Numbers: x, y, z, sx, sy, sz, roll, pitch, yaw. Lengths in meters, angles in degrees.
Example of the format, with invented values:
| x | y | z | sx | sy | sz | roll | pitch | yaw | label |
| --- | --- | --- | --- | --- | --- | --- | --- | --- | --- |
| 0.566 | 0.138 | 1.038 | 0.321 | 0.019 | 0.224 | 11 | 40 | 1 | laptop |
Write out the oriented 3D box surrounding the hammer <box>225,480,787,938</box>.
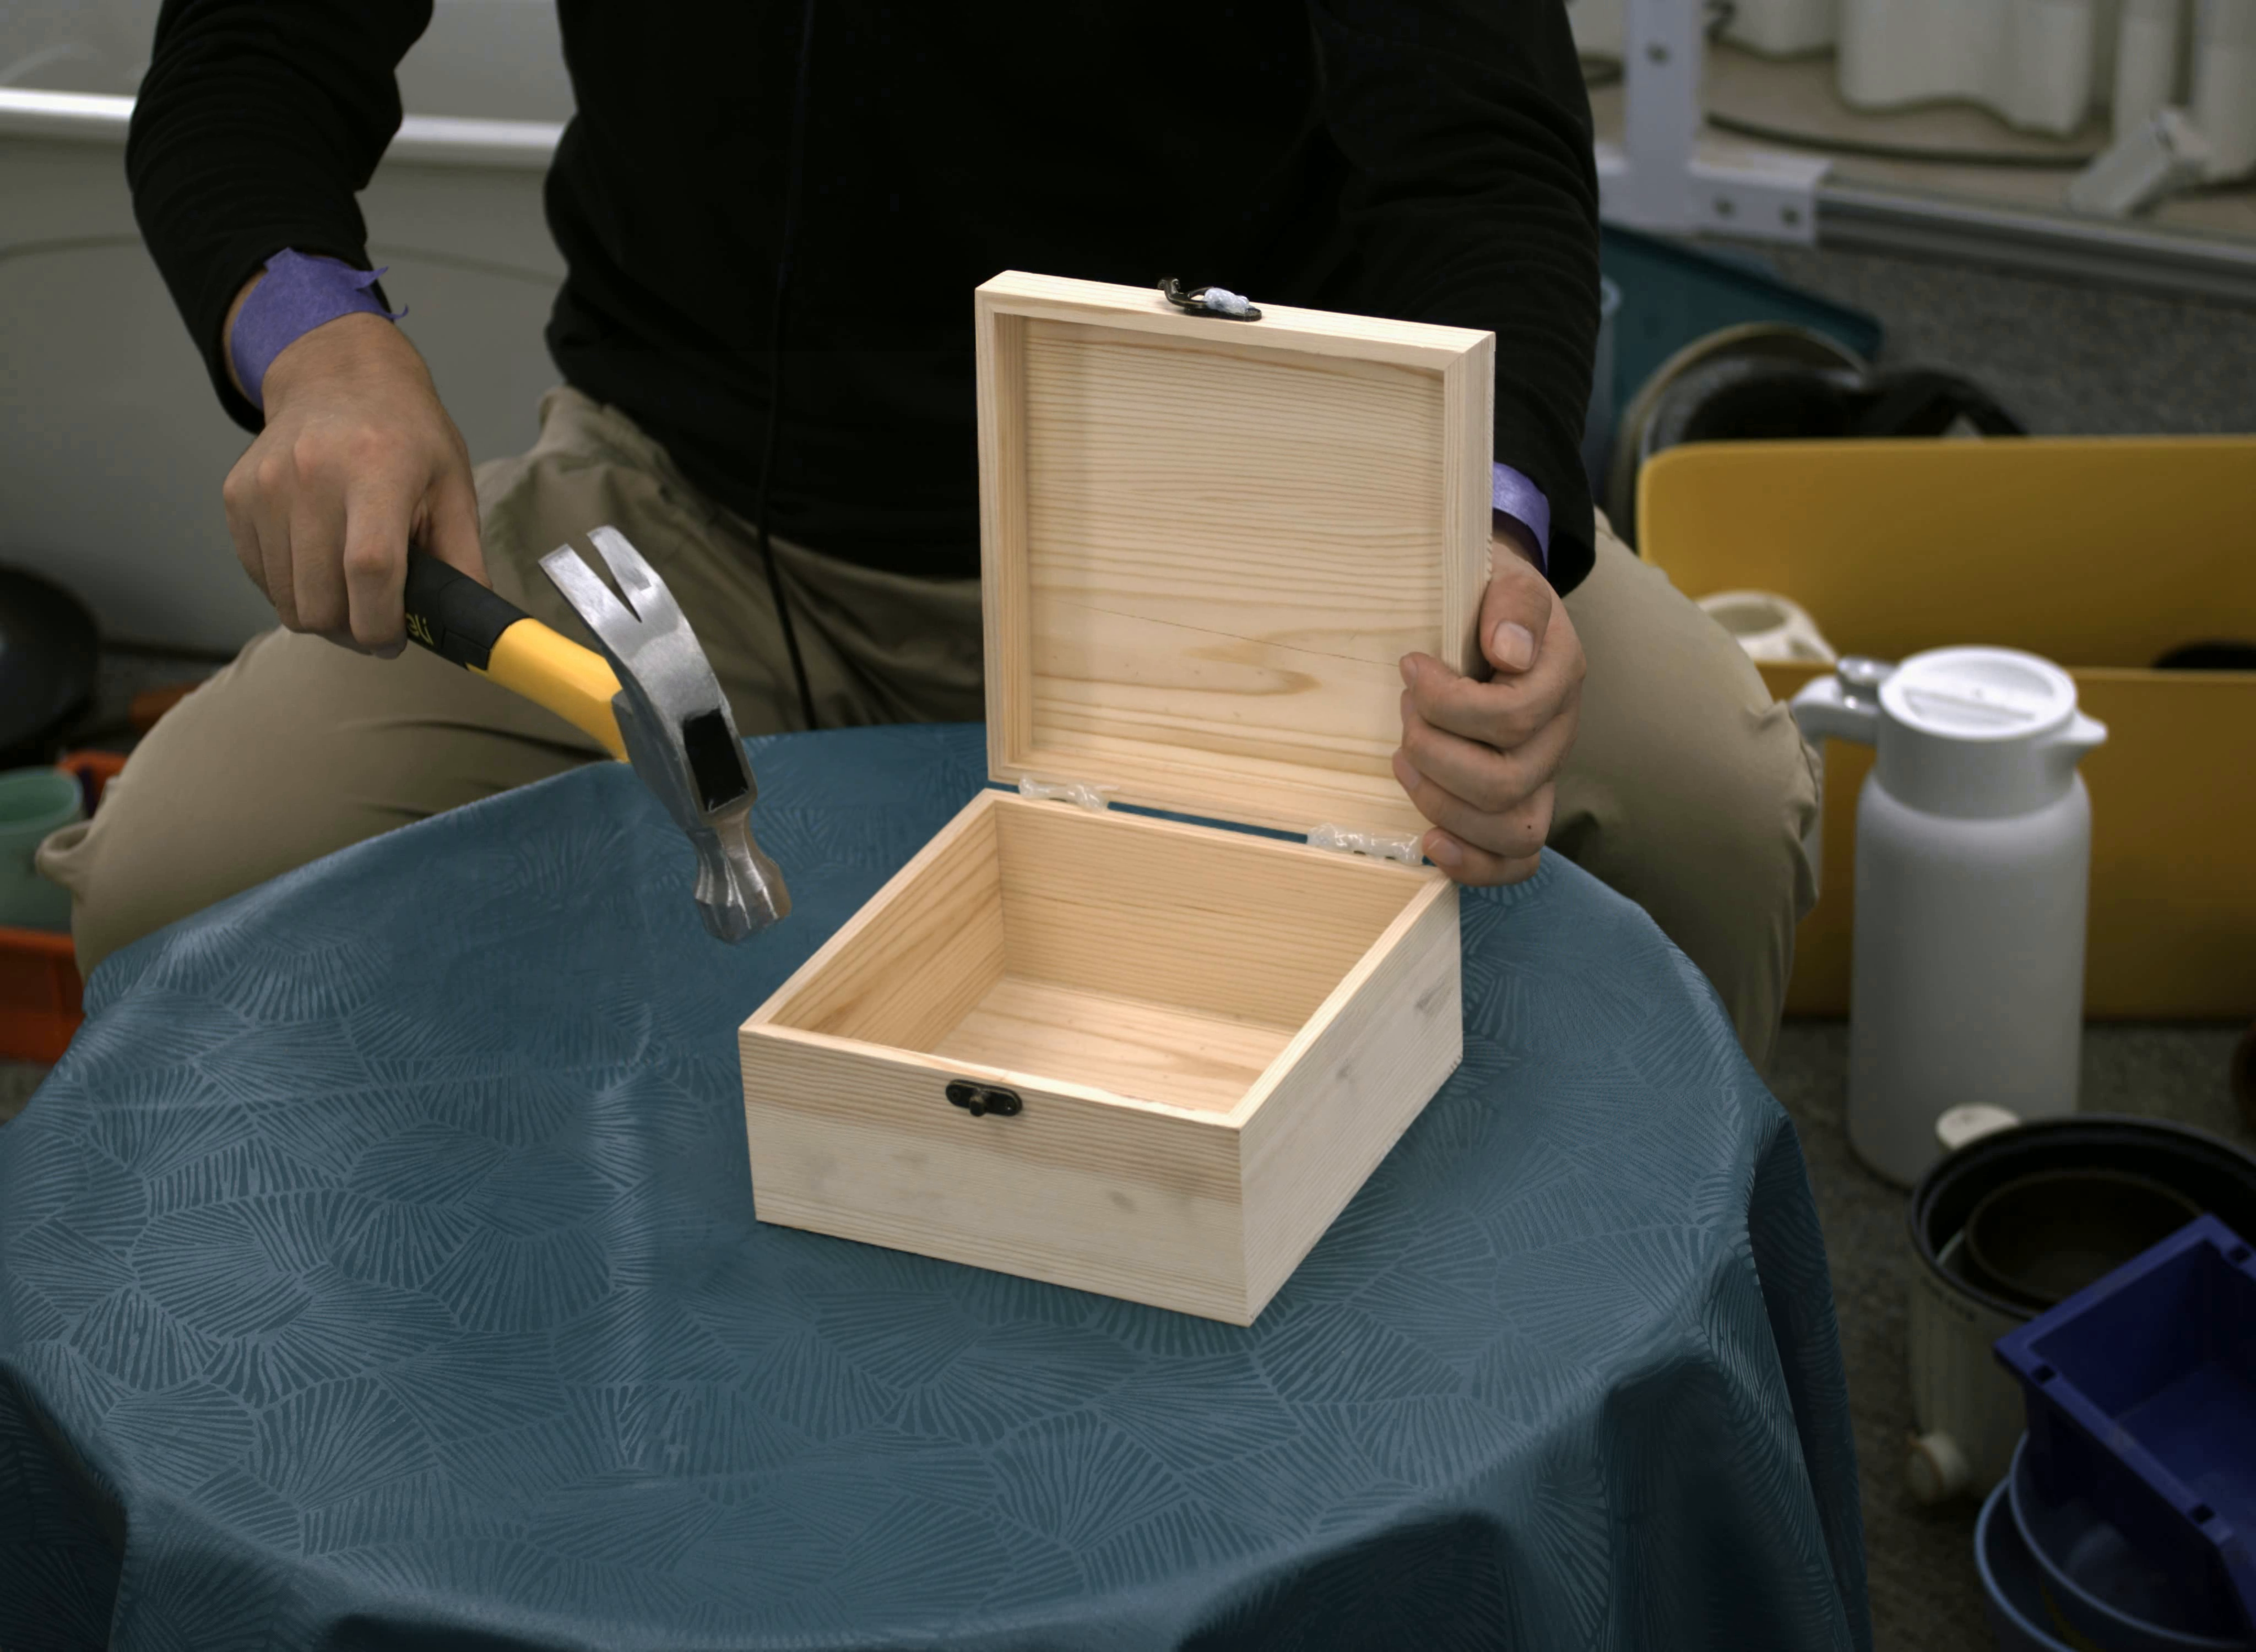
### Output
| x | y | z | sx | sy | sz | roll | pitch | yaw | label |
| --- | --- | --- | --- | --- | --- | --- | --- | --- | --- |
| -0.224 | -0.066 | 1.926 | 0.032 | 0.130 | 0.338 | -28 | 28 | -25 | hammer |

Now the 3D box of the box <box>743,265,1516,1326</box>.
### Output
| x | y | z | sx | sy | sz | roll | pitch | yaw | label |
| --- | --- | --- | --- | --- | --- | --- | --- | --- | --- |
| 0.003 | -0.019 | 1.862 | 0.180 | 0.251 | 0.269 | 7 | 29 | 24 | box |
